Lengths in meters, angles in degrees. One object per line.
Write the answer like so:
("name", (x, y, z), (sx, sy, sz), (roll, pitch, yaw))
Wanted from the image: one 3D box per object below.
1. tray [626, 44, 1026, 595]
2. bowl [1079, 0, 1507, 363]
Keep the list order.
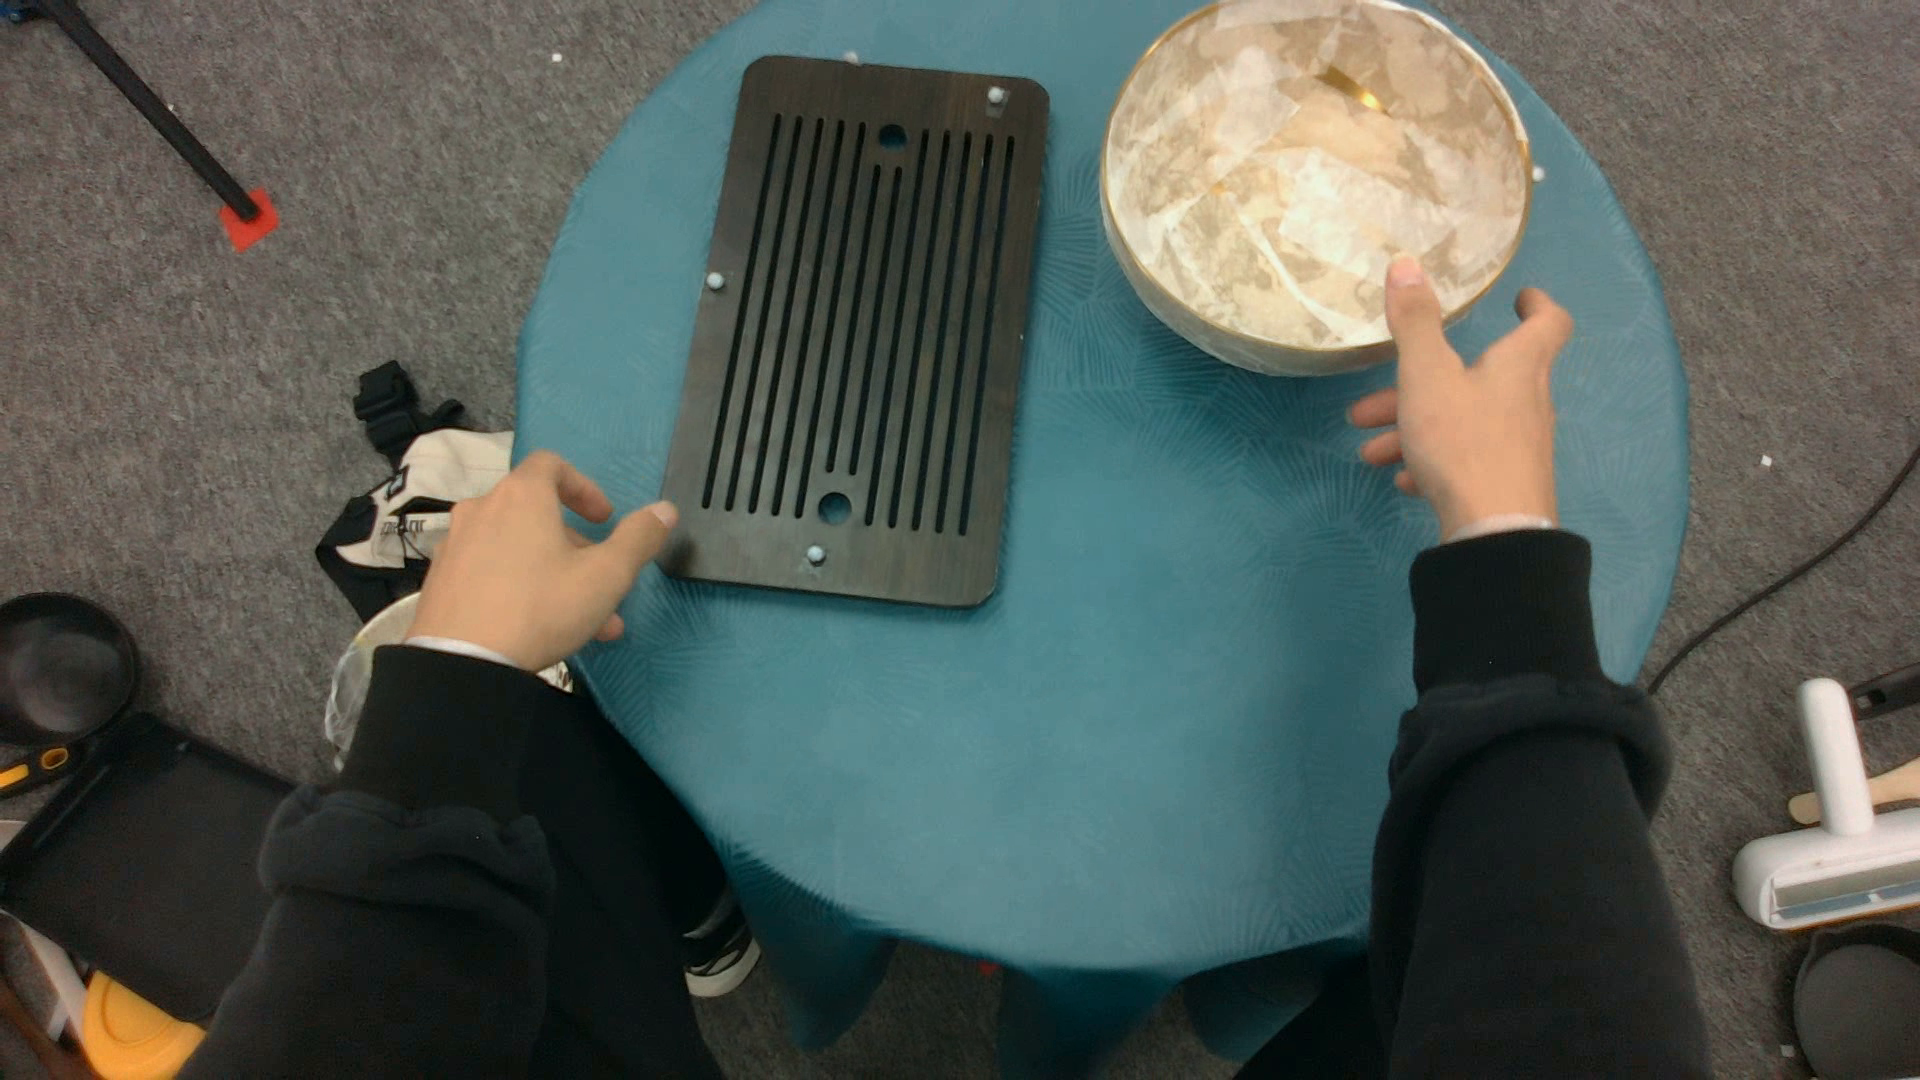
("tray", (-0.063, -0.123, 0.714), (0.170, 0.018, 0.307), (6, 71, 2))
("bowl", (0.154, -0.169, 0.691), (0.215, 0.094, 0.215), (0, 71, -1))
